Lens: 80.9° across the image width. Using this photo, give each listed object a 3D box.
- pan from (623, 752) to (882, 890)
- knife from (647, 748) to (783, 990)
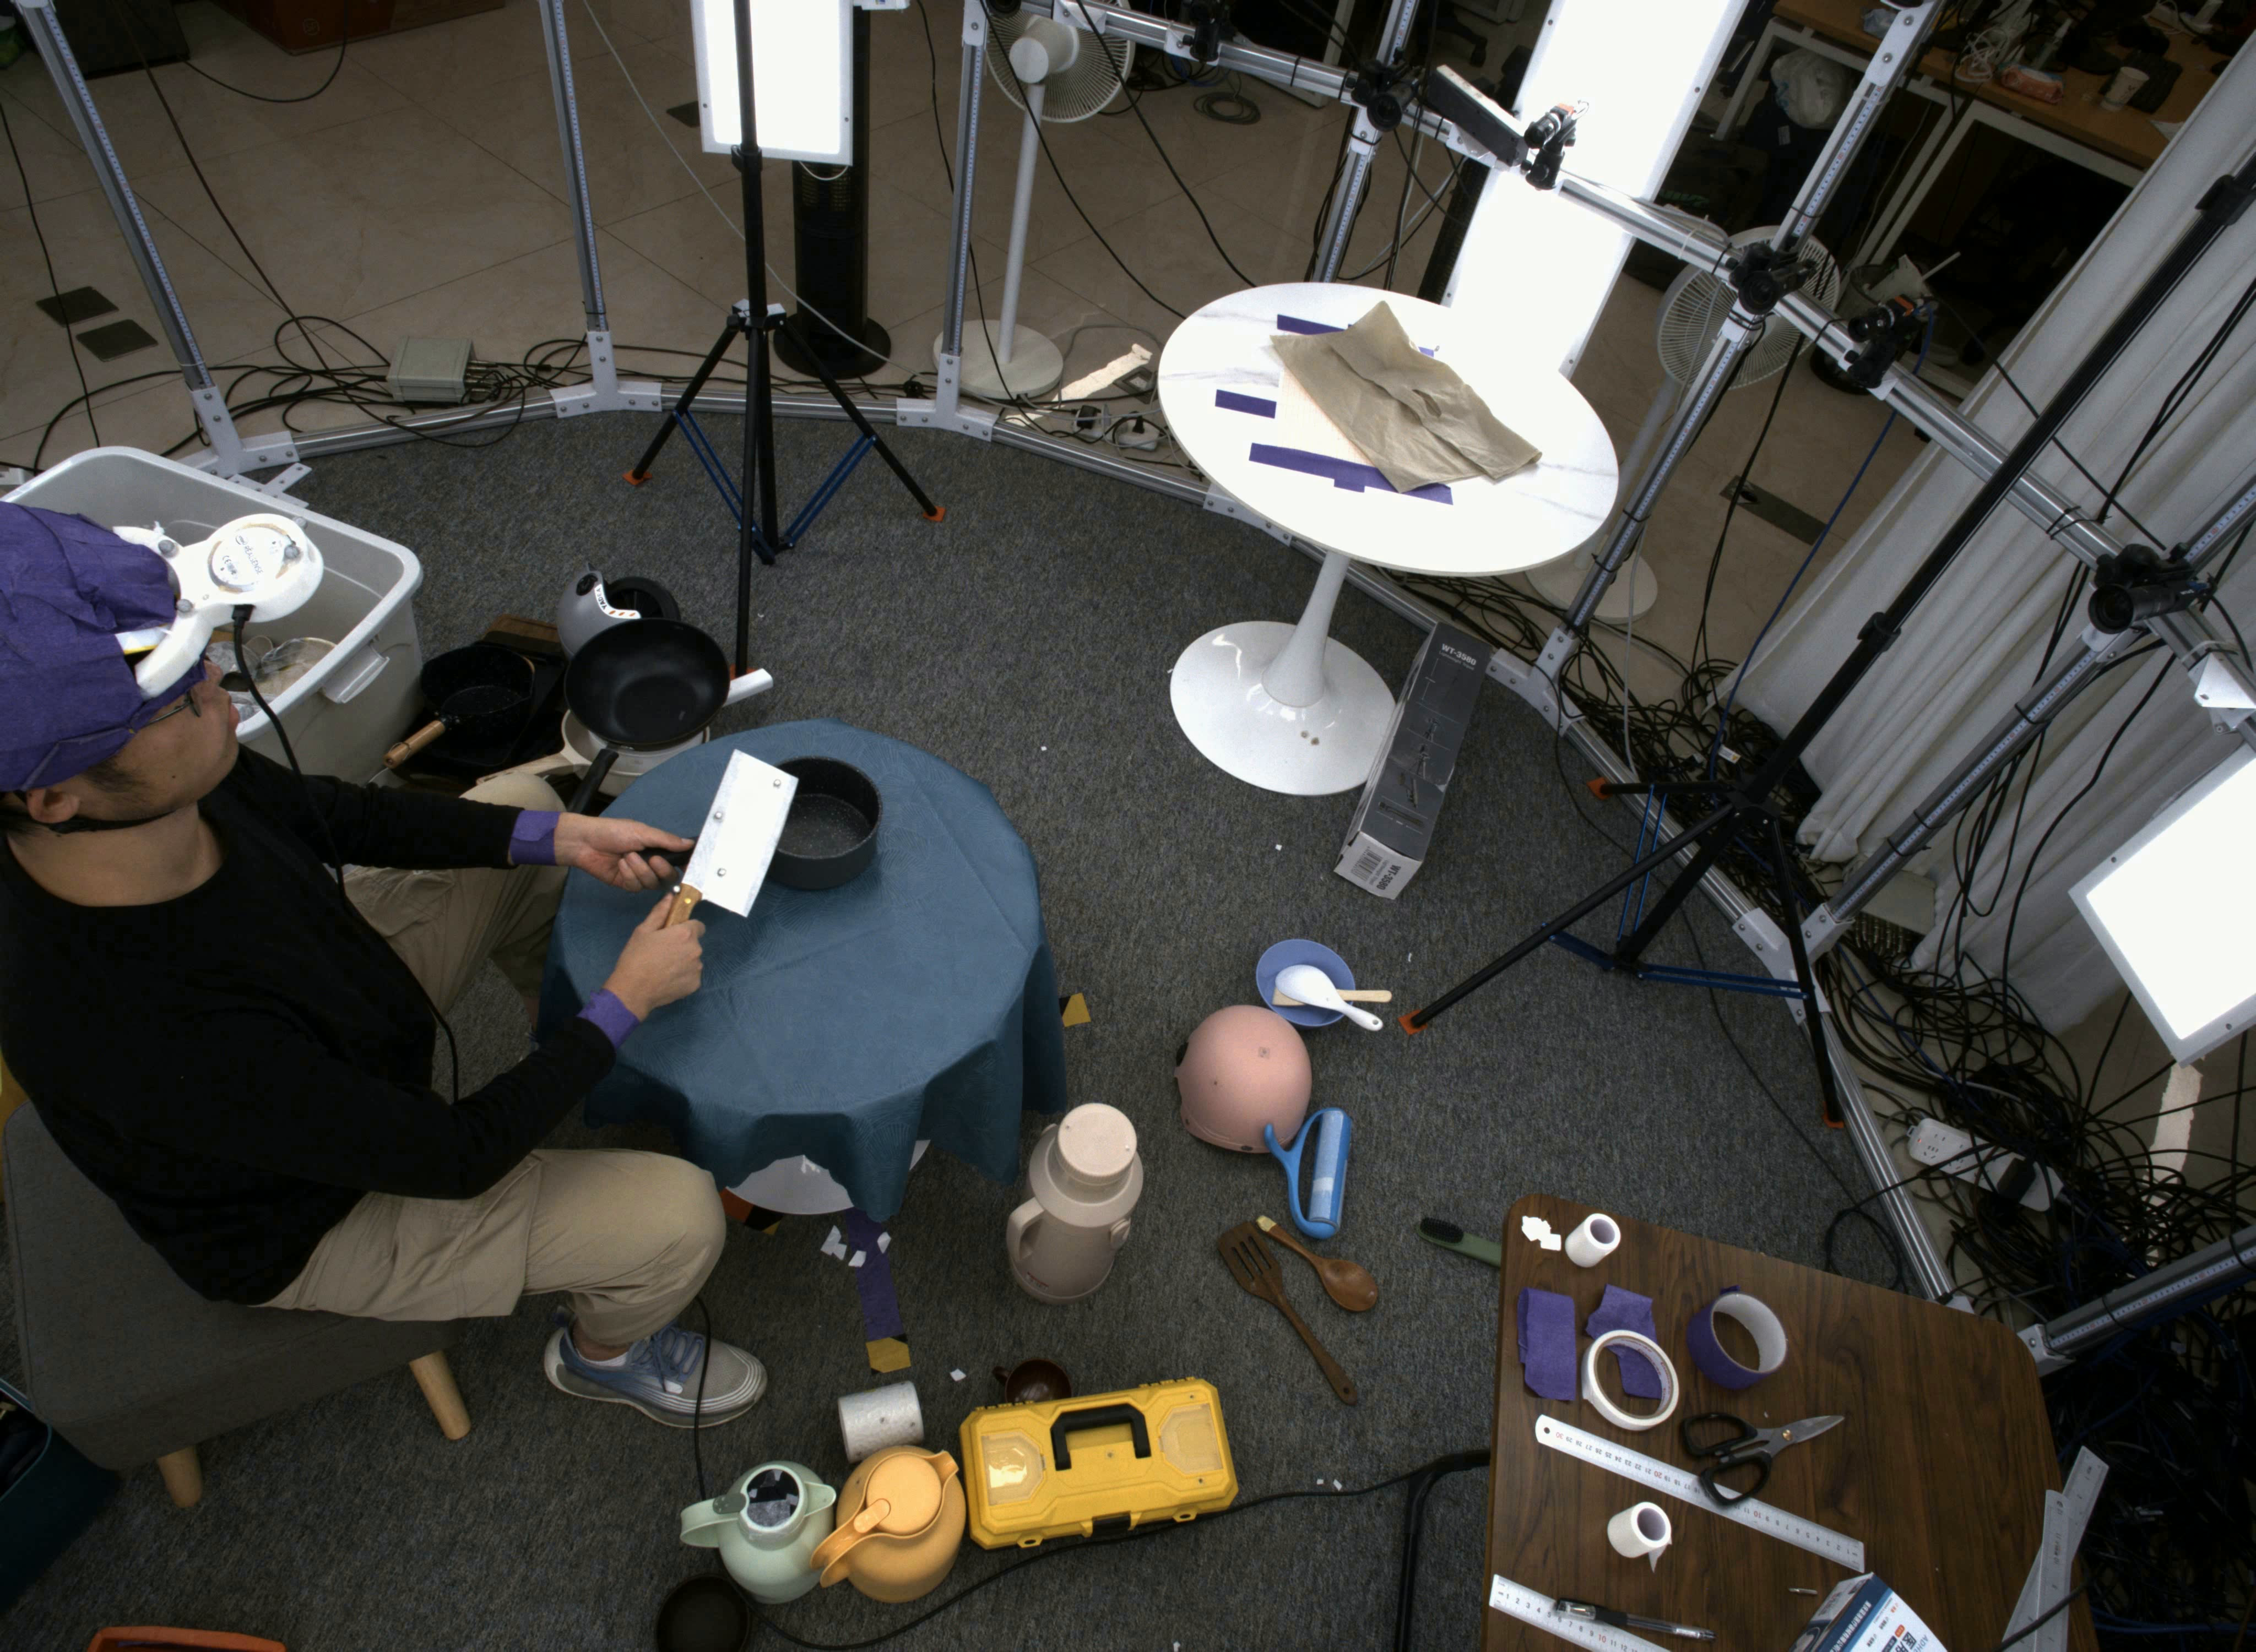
[{"bbox_3d":[-0.472,0.015,1.636,0.331,0.088,0.167,-17,59,-29],"label":"pan"},{"bbox_3d":[-0.487,0.056,1.543,0.095,0.020,0.305,27,66,-31],"label":"knife"}]
